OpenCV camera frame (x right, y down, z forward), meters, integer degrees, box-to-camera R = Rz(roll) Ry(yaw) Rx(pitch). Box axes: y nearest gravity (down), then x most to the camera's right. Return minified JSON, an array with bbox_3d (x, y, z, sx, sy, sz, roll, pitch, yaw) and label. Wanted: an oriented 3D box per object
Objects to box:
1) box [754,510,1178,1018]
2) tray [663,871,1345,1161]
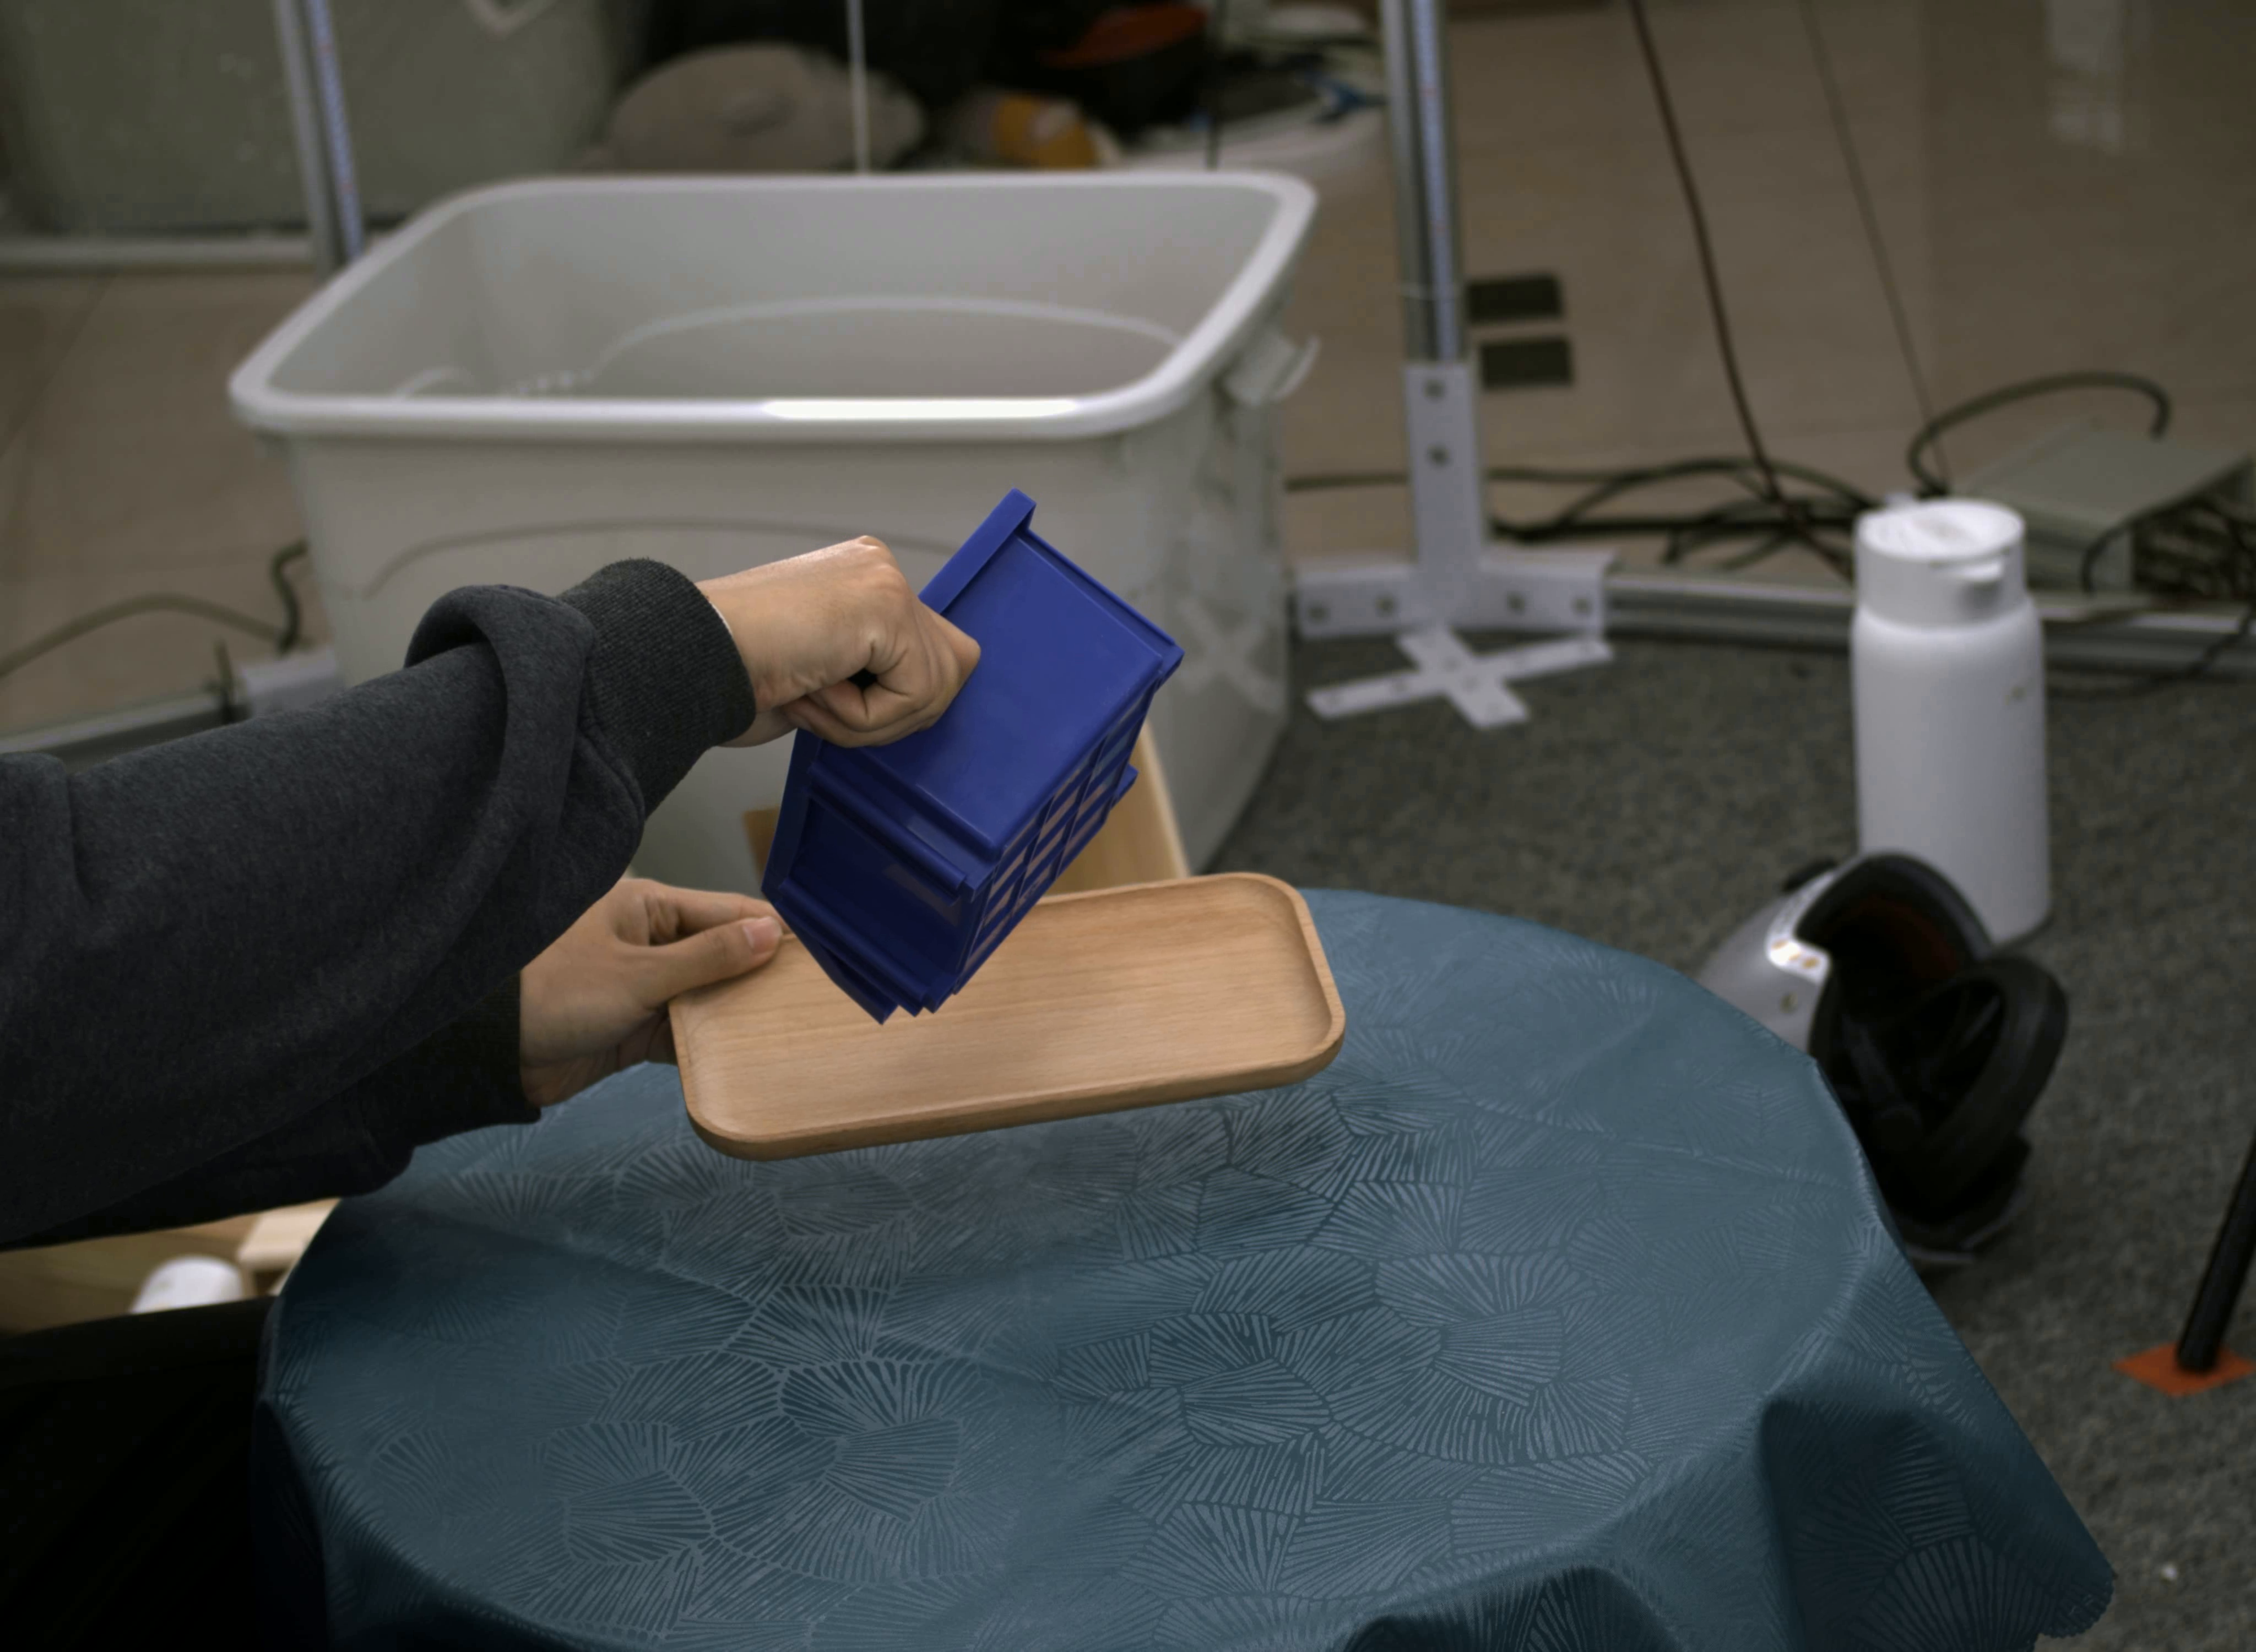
[{"bbox_3d":[-0.062,-0.013,2.016,0.082,0.181,0.123,39,69,4],"label":"box"},{"bbox_3d":[-0.048,0.072,2.146,0.250,0.023,0.128,-8,34,-6],"label":"tray"}]
